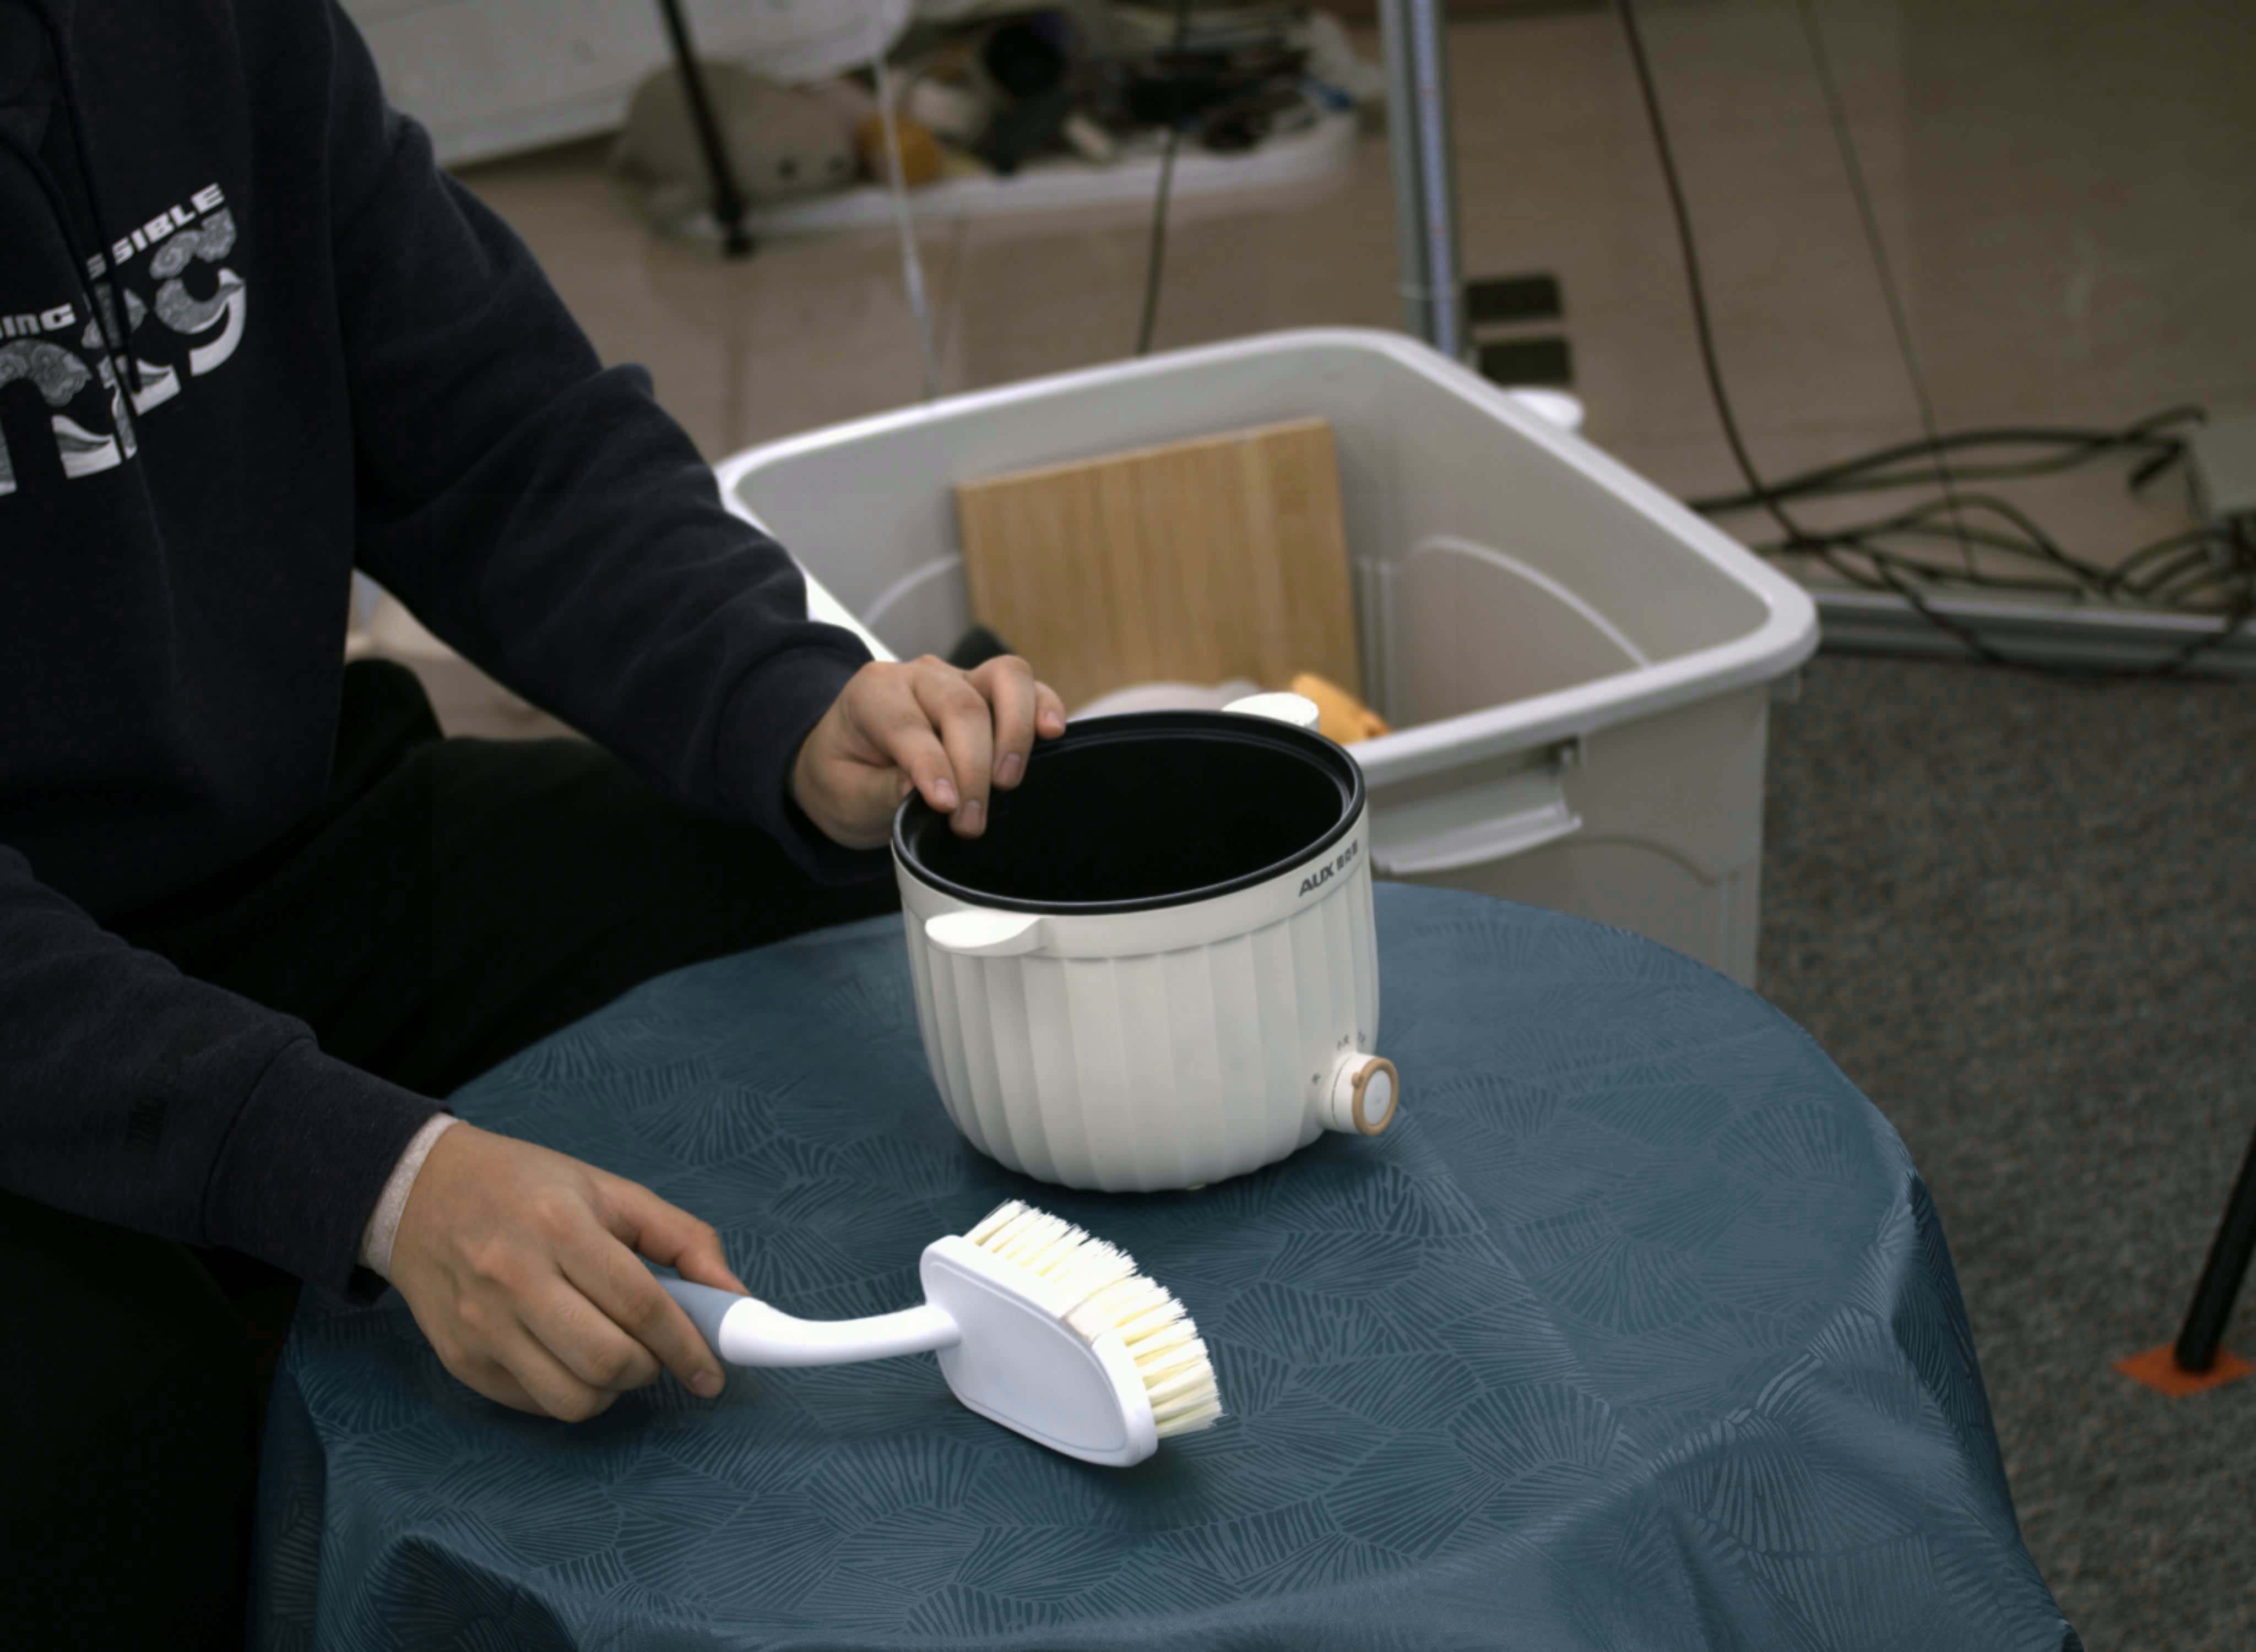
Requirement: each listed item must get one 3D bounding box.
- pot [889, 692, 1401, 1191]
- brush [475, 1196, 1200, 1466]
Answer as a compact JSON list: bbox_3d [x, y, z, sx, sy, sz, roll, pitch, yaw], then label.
[{"bbox_3d":[0.012,0.052,2.167,0.190,0.145,0.237,7,29,33],"label":"pot"},{"bbox_3d":[-0.099,0.162,2.033,0.323,0.083,0.085,11,-6,38],"label":"brush"}]
